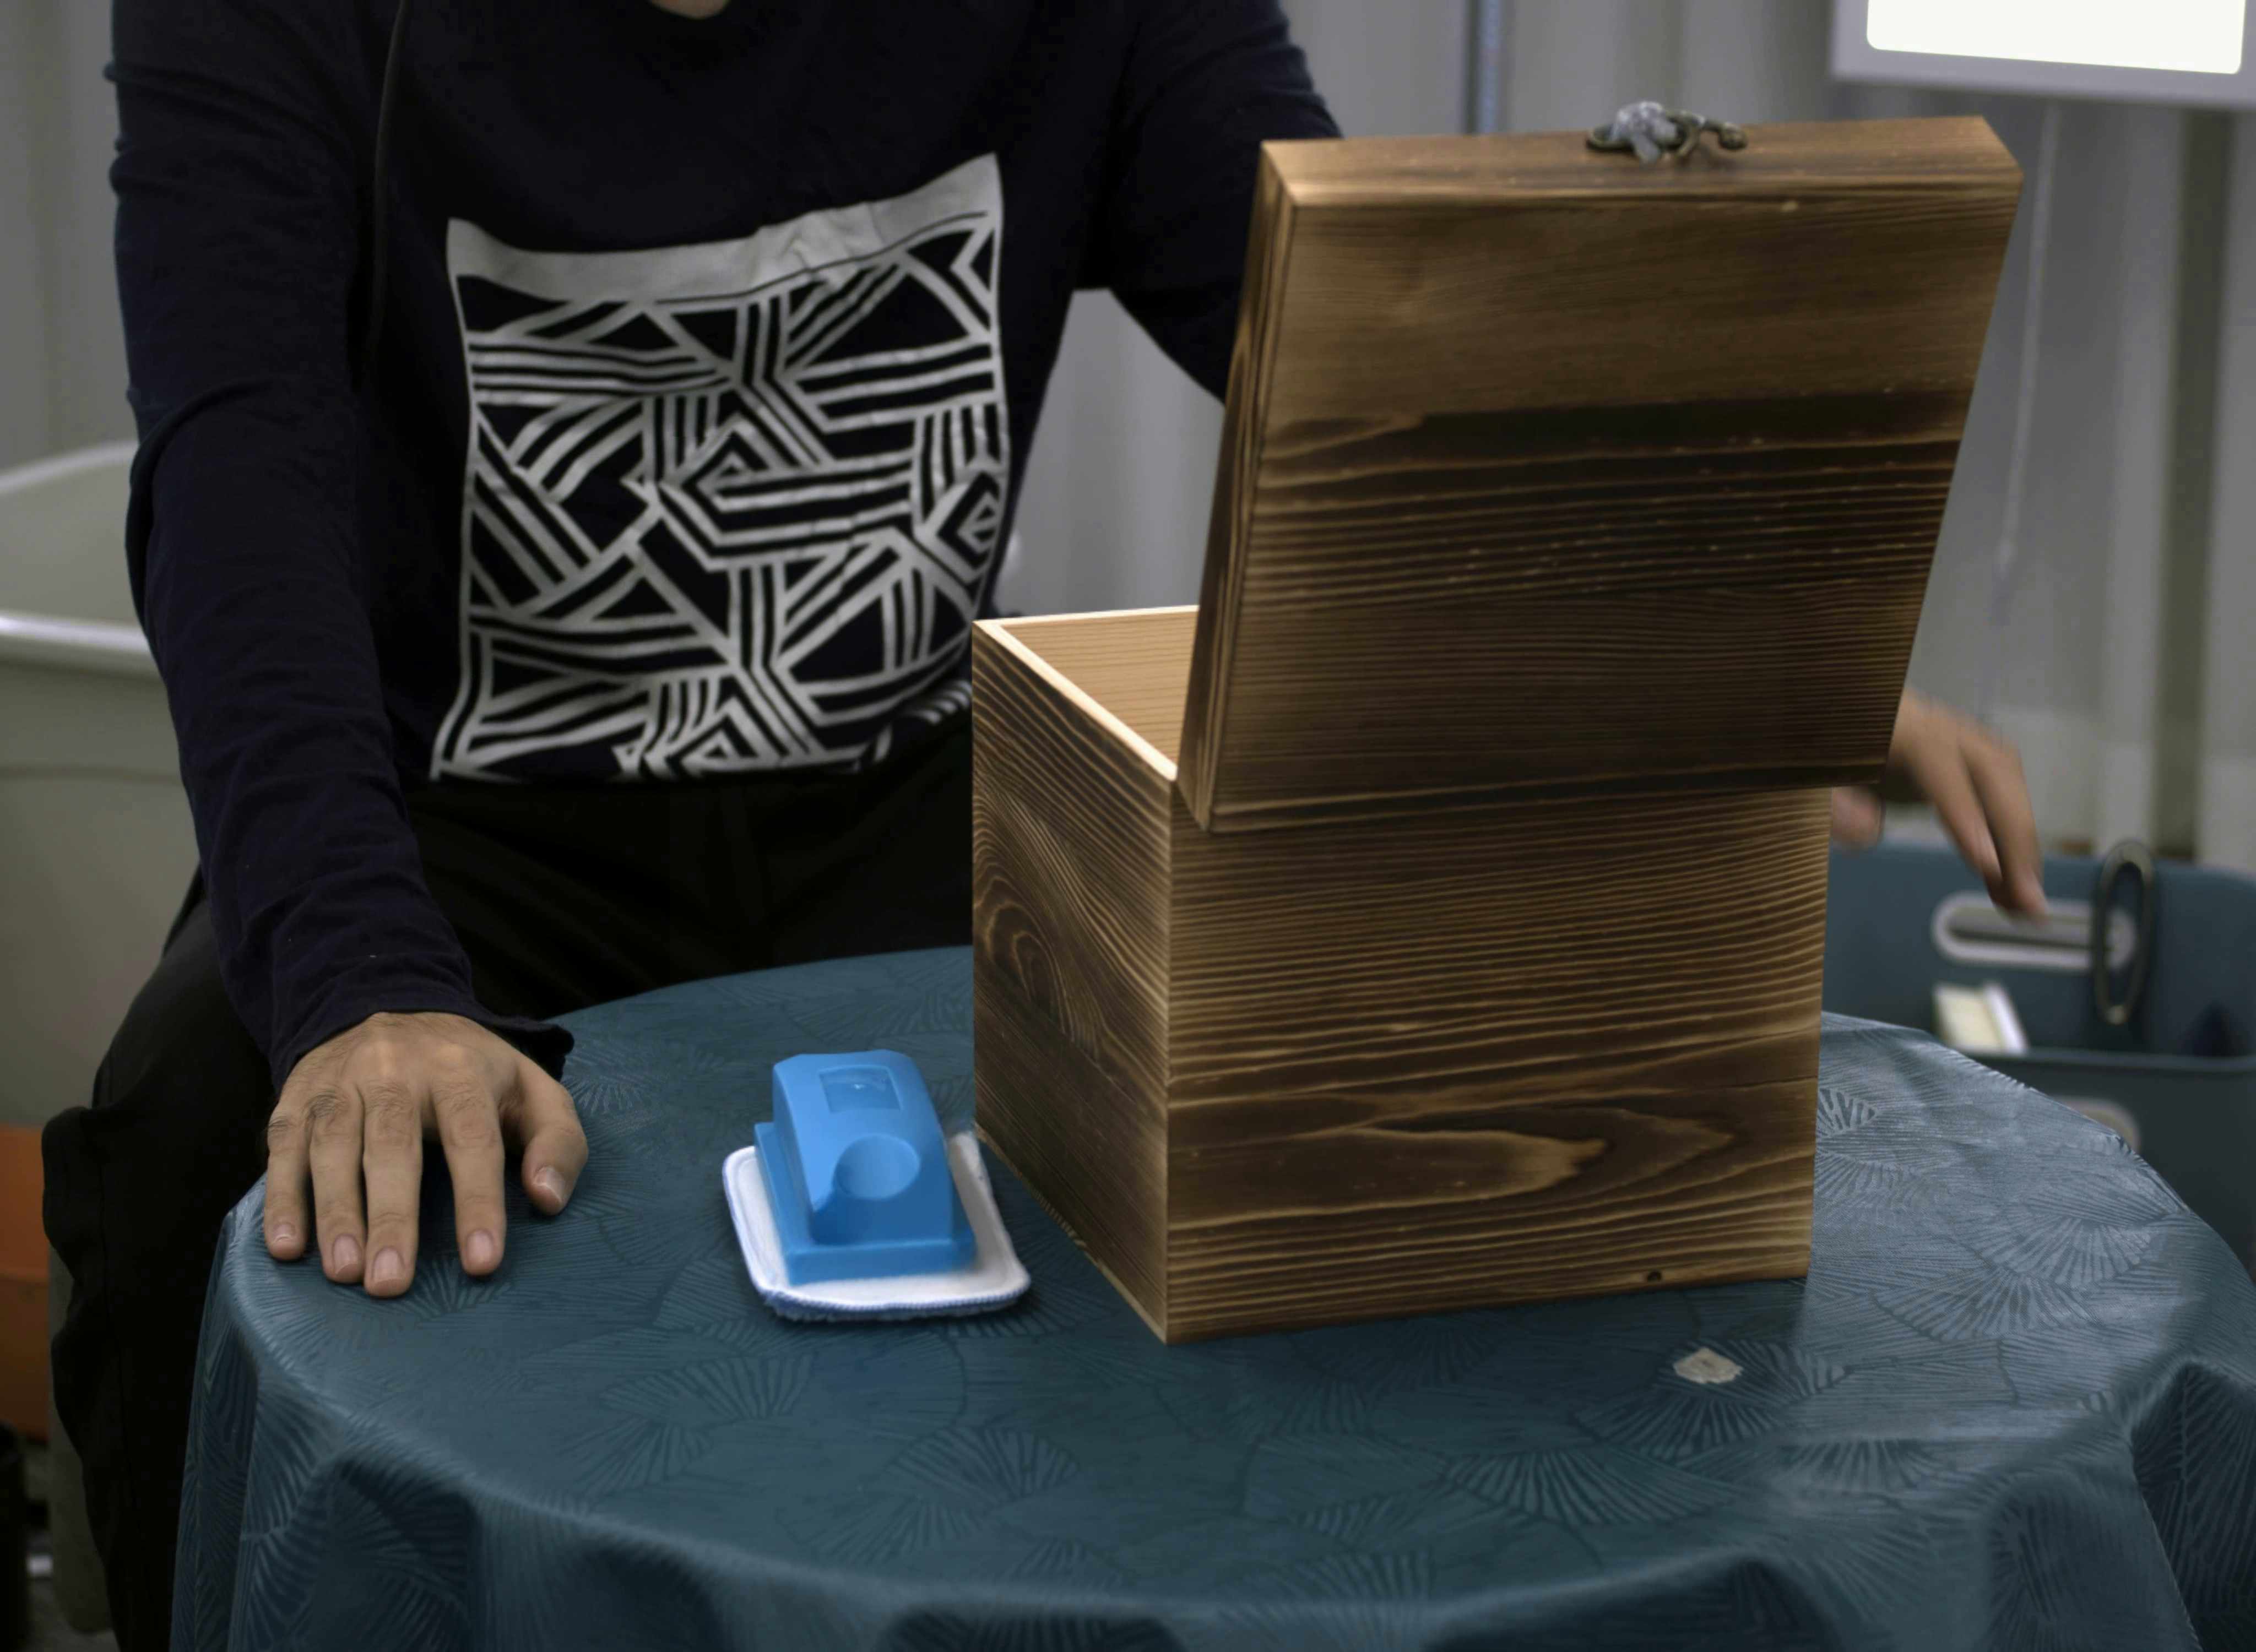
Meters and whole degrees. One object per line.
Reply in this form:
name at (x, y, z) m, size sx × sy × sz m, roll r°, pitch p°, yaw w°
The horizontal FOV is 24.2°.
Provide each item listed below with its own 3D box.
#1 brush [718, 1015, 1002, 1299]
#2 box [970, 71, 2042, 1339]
brush at (-0.079, 0.095, 1.571) m, size 0.084 × 0.056 × 0.143 m, roll 2°, pitch 17°, yaw -7°
box at (0.095, -0.046, 1.522) m, size 0.209 × 0.378 × 0.318 m, roll -4°, pitch 17°, yaw -17°
